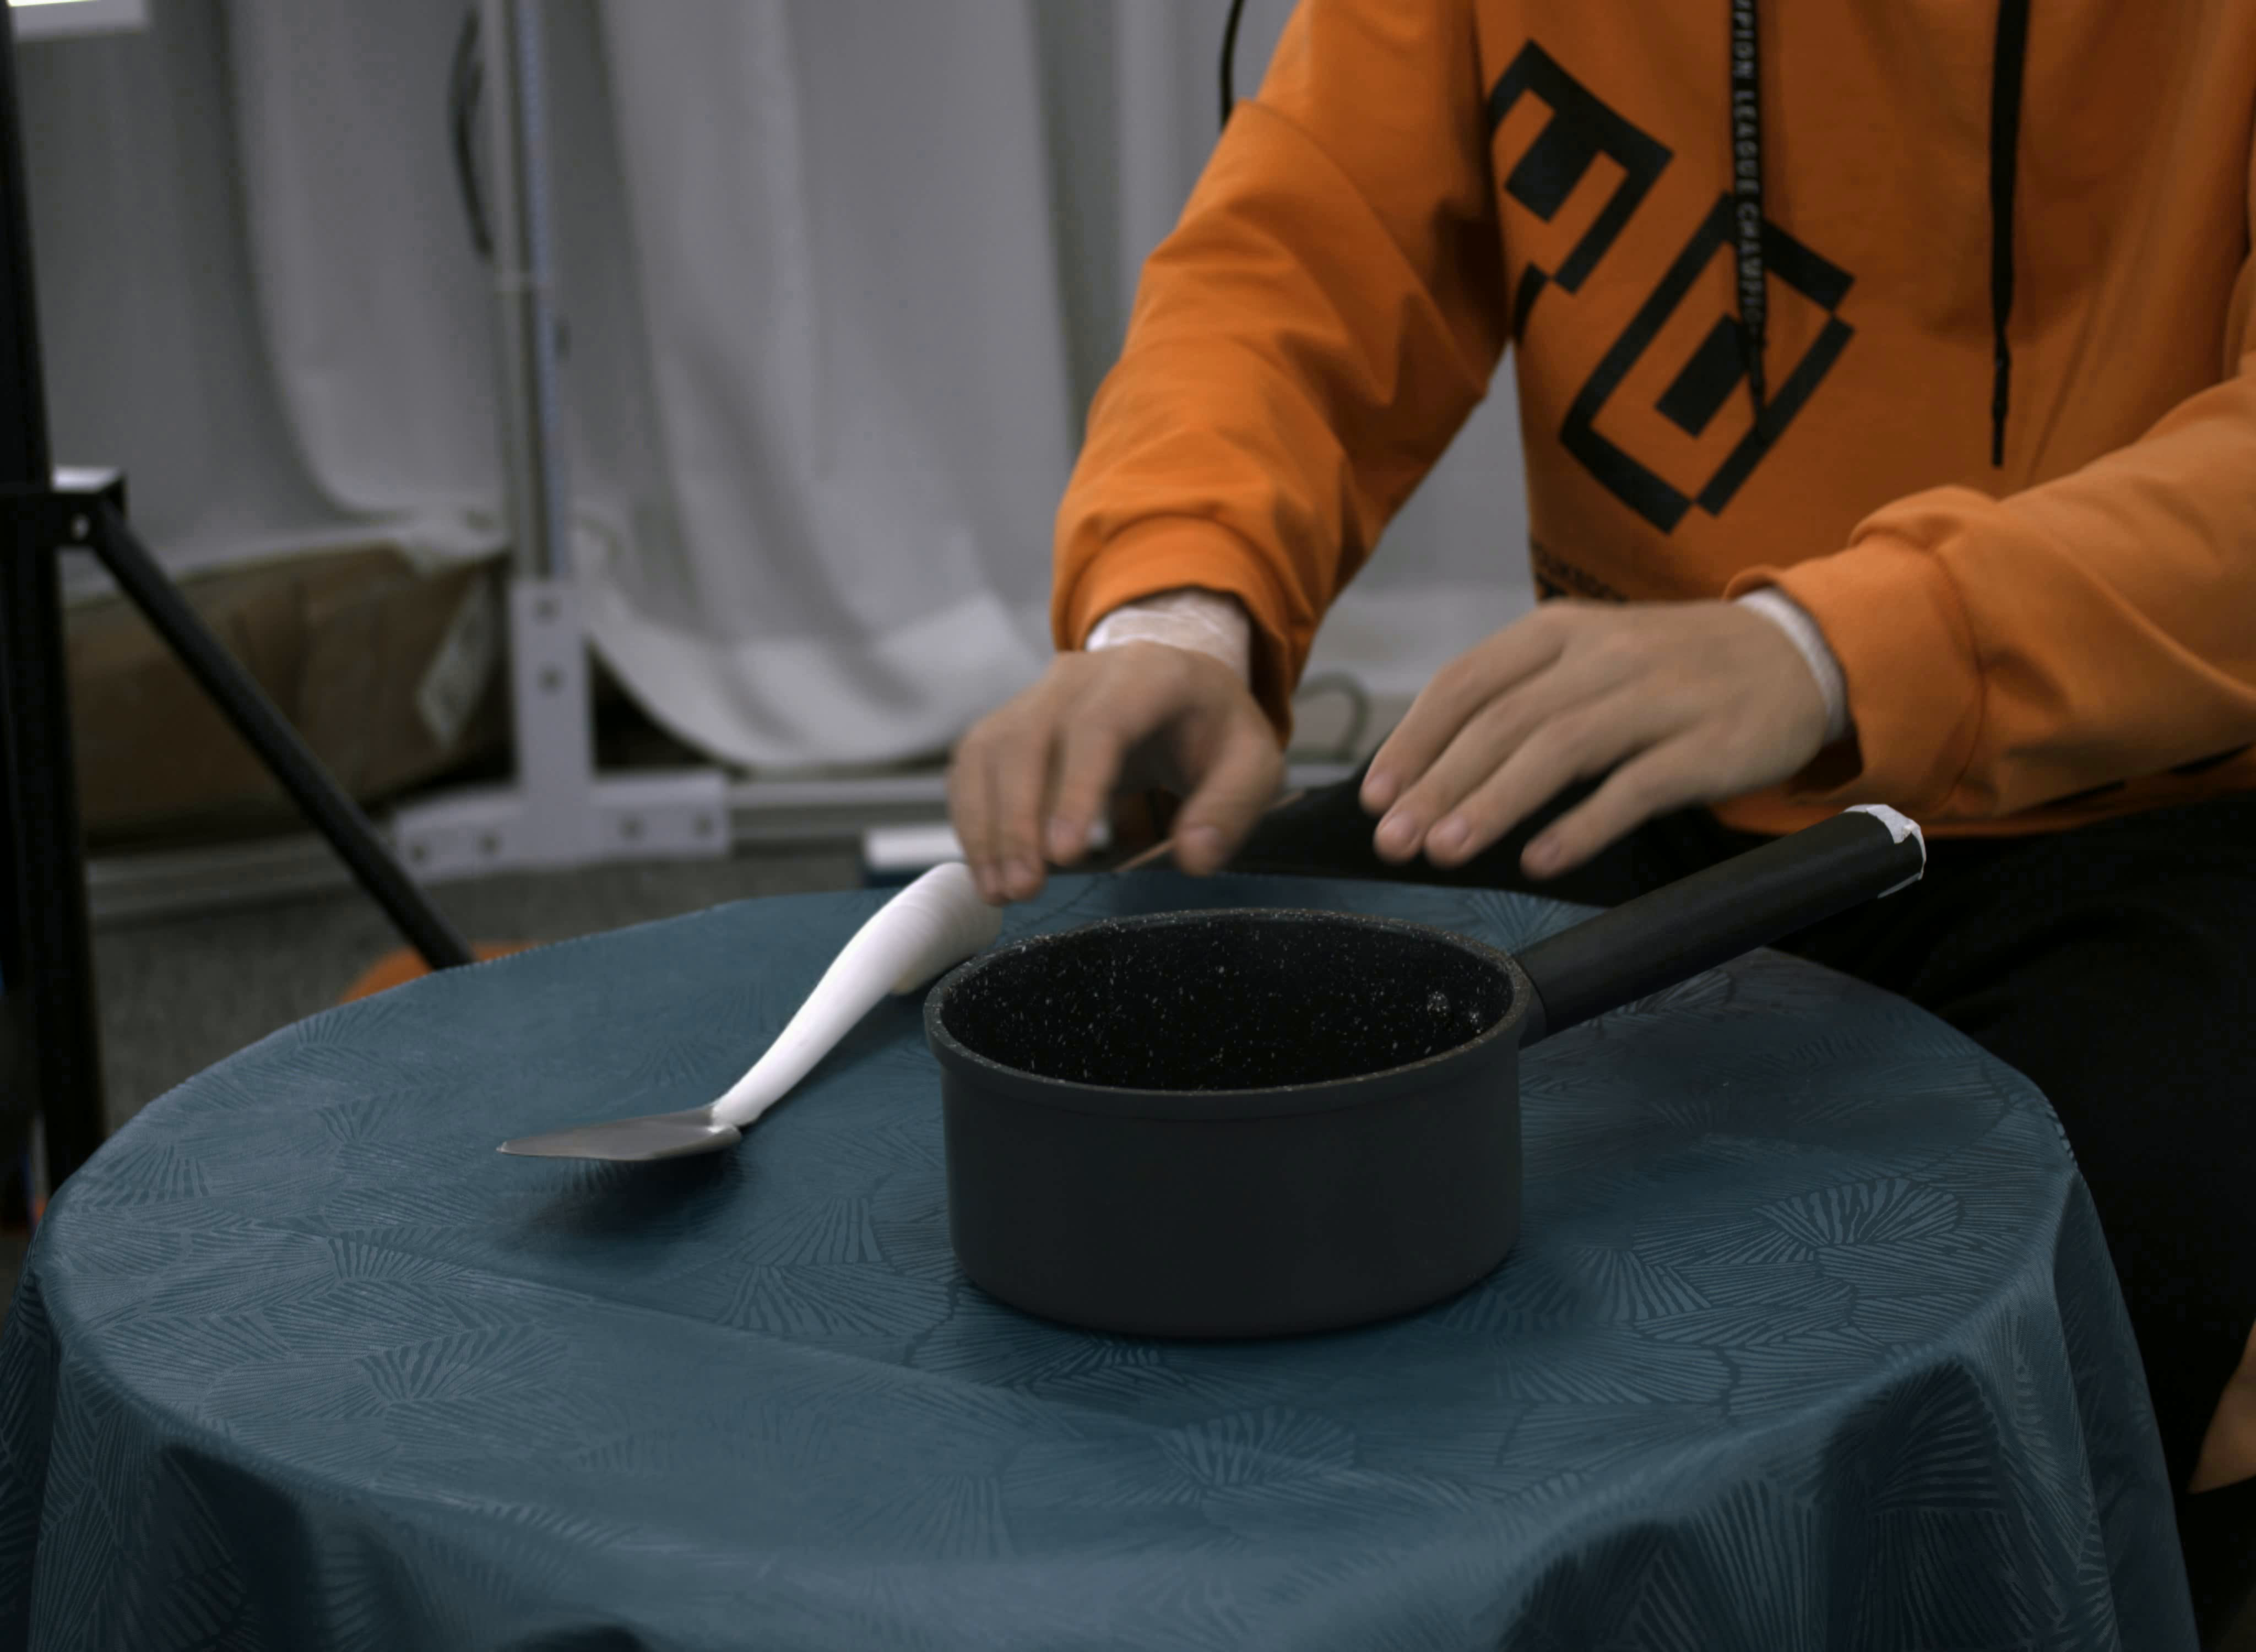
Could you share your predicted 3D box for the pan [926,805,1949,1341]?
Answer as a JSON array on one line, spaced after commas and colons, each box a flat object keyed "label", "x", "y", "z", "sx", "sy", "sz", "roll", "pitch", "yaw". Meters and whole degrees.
[{"label": "pan", "x": 0.098, "y": 0.067, "z": 1.532, "sx": 0.322, "sy": 0.086, "sz": 0.175, "roll": -12, "pitch": 19, "yaw": -25}]

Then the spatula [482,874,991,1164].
[{"label": "spatula", "x": -0.111, "y": 0.068, "z": 1.661, "sx": 0.059, "sy": 0.032, "sz": 0.284, "roll": 4, "pitch": 17, "yaw": 21}]
